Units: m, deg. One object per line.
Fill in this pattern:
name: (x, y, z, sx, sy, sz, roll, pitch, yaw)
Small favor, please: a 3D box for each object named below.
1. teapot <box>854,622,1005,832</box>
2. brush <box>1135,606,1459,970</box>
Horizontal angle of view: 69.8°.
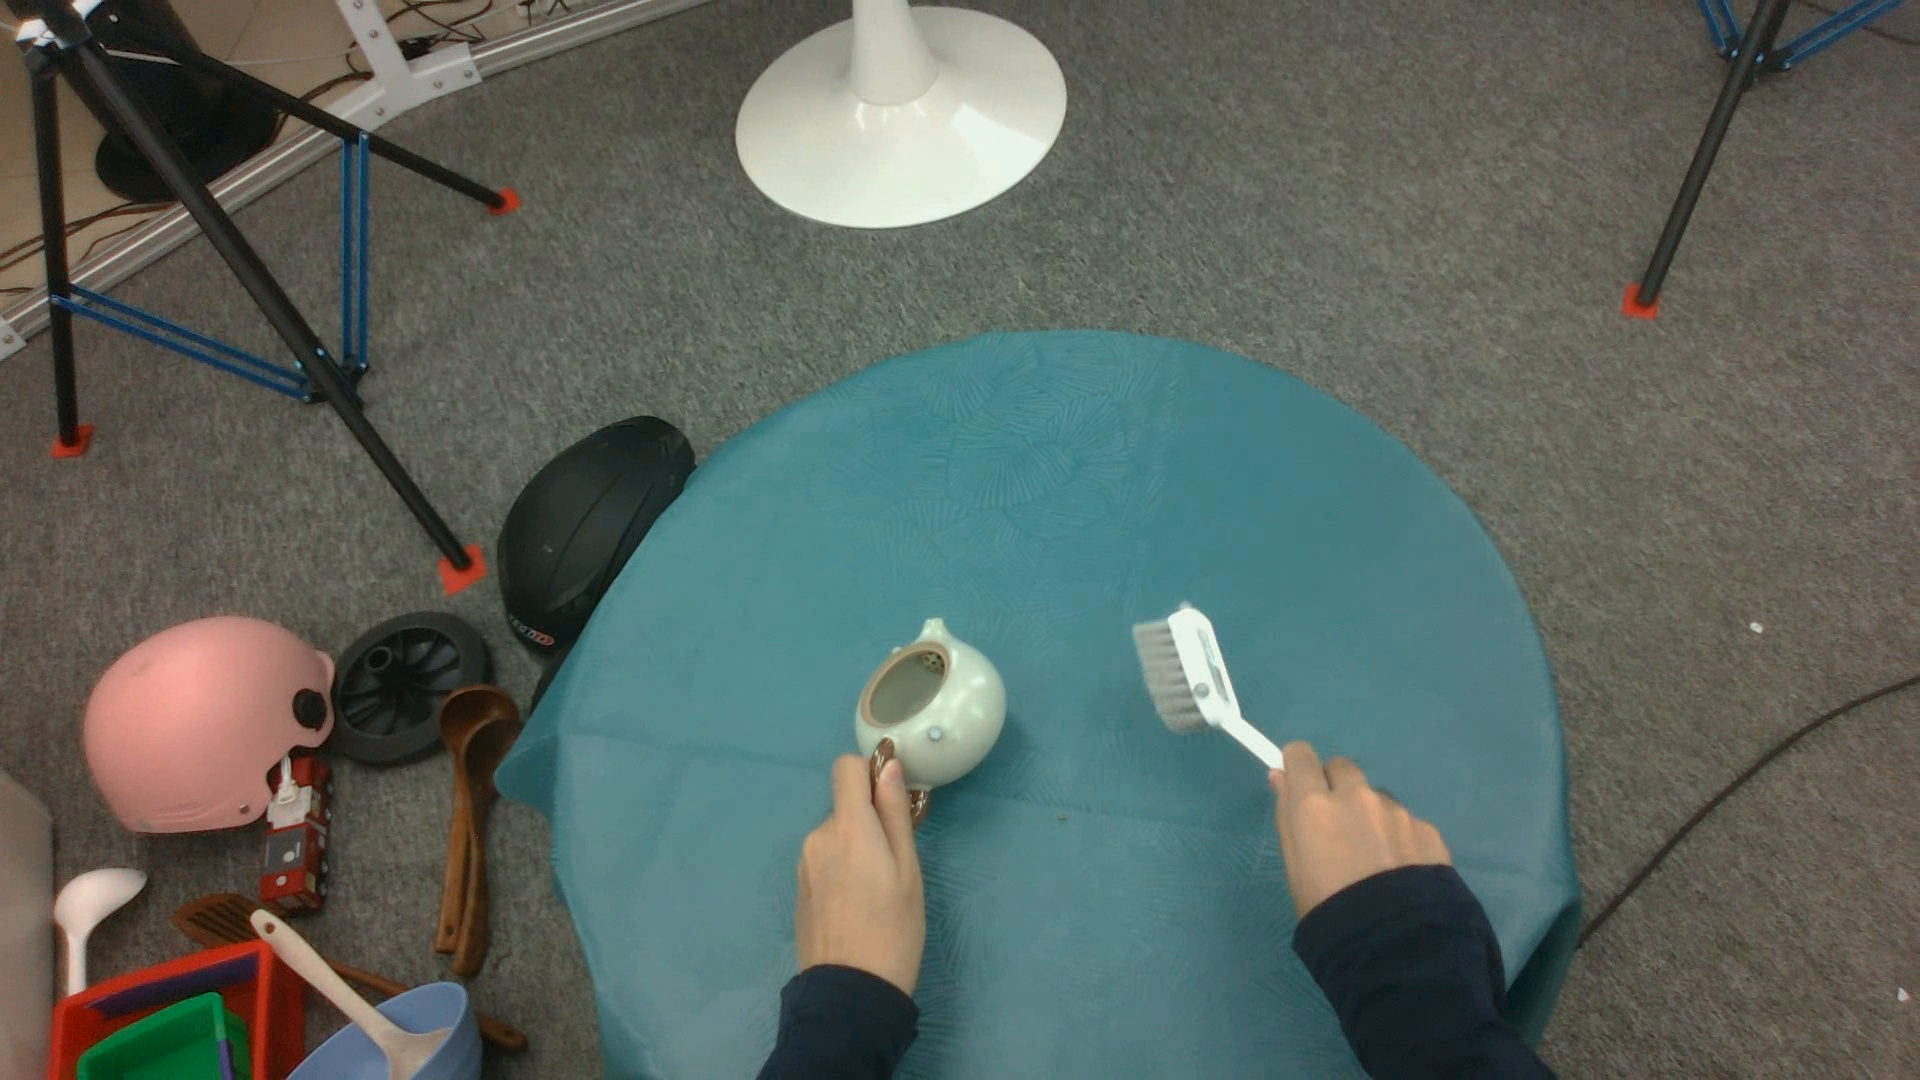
teapot: (-0.020, 0.110, 0.800, 0.091, 0.059, 0.129, -13, 39, 31)
brush: (0.167, 0.131, 0.728, 0.050, 0.034, 0.244, -39, 57, 8)
